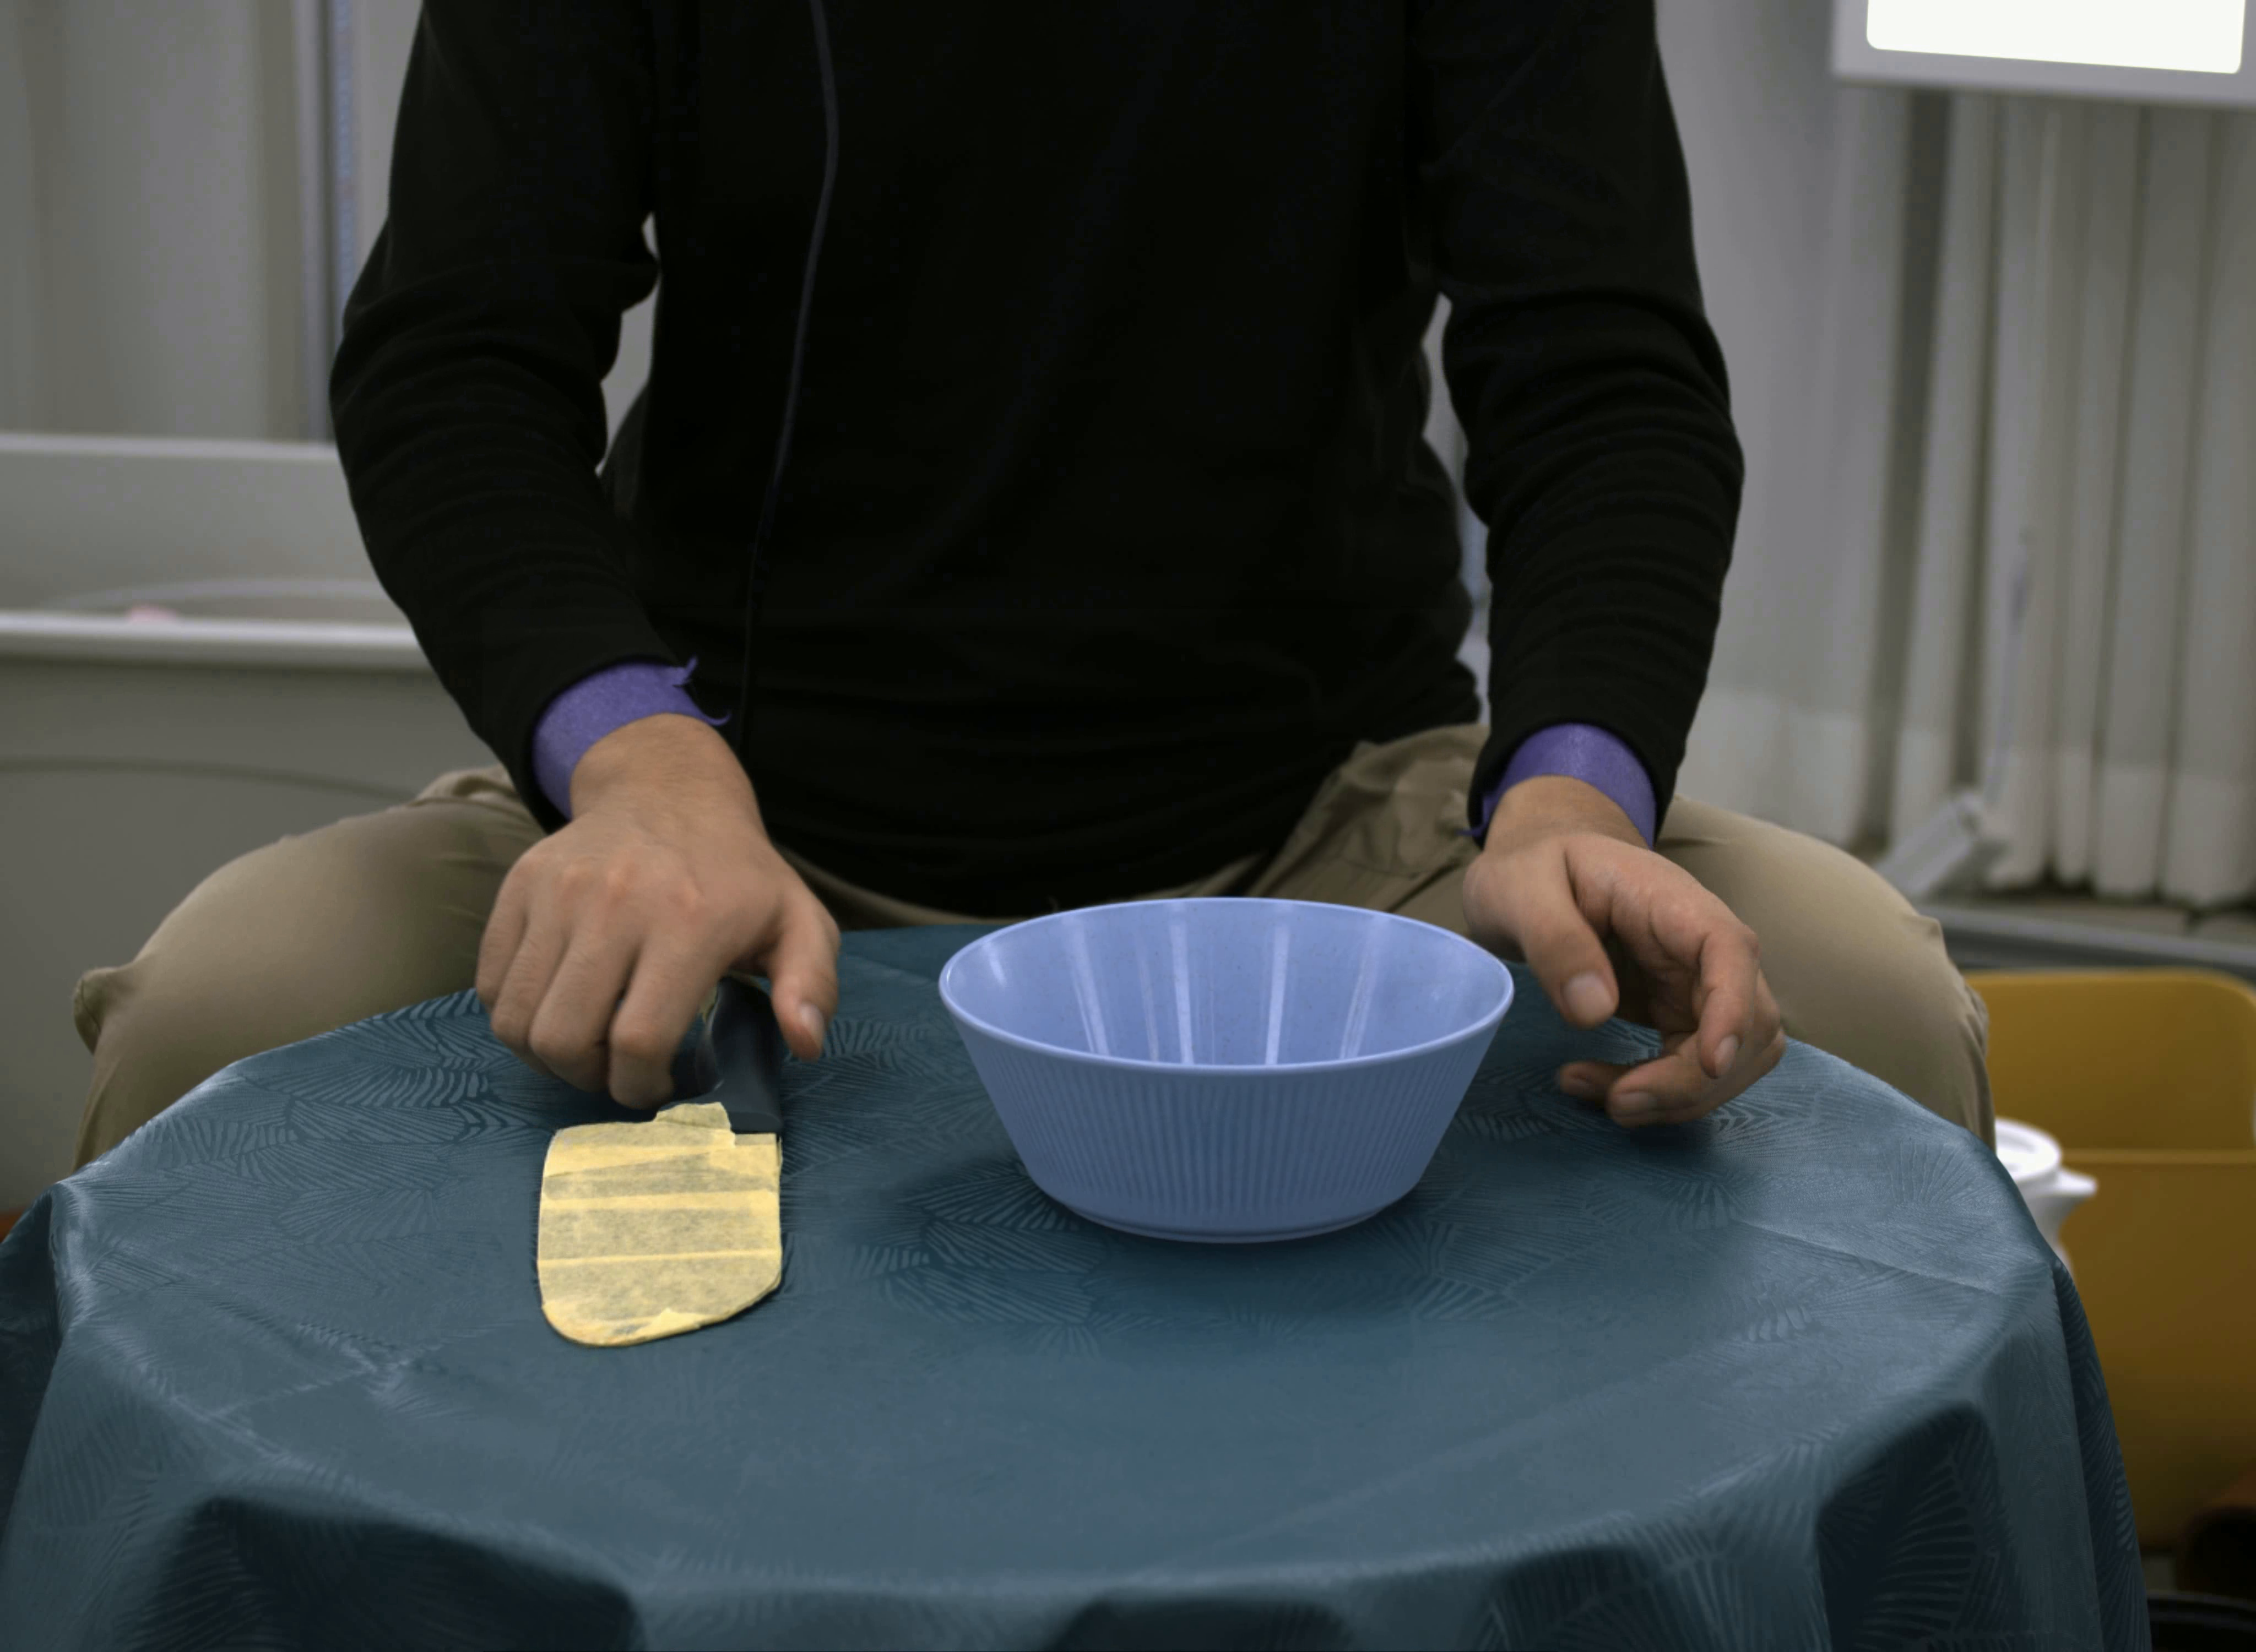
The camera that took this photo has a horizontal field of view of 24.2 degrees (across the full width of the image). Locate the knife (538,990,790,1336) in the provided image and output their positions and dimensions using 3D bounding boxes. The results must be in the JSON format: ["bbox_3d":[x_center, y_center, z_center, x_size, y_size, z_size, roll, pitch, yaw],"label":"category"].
[{"bbox_3d":[-0.141,0.103,1.626,0.081,0.027,0.288,1,16,-1],"label":"knife"}]

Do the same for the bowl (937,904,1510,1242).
[{"bbox_3d":[0.029,0.078,1.618,0.175,0.071,0.175,0,16,1],"label":"bowl"}]
